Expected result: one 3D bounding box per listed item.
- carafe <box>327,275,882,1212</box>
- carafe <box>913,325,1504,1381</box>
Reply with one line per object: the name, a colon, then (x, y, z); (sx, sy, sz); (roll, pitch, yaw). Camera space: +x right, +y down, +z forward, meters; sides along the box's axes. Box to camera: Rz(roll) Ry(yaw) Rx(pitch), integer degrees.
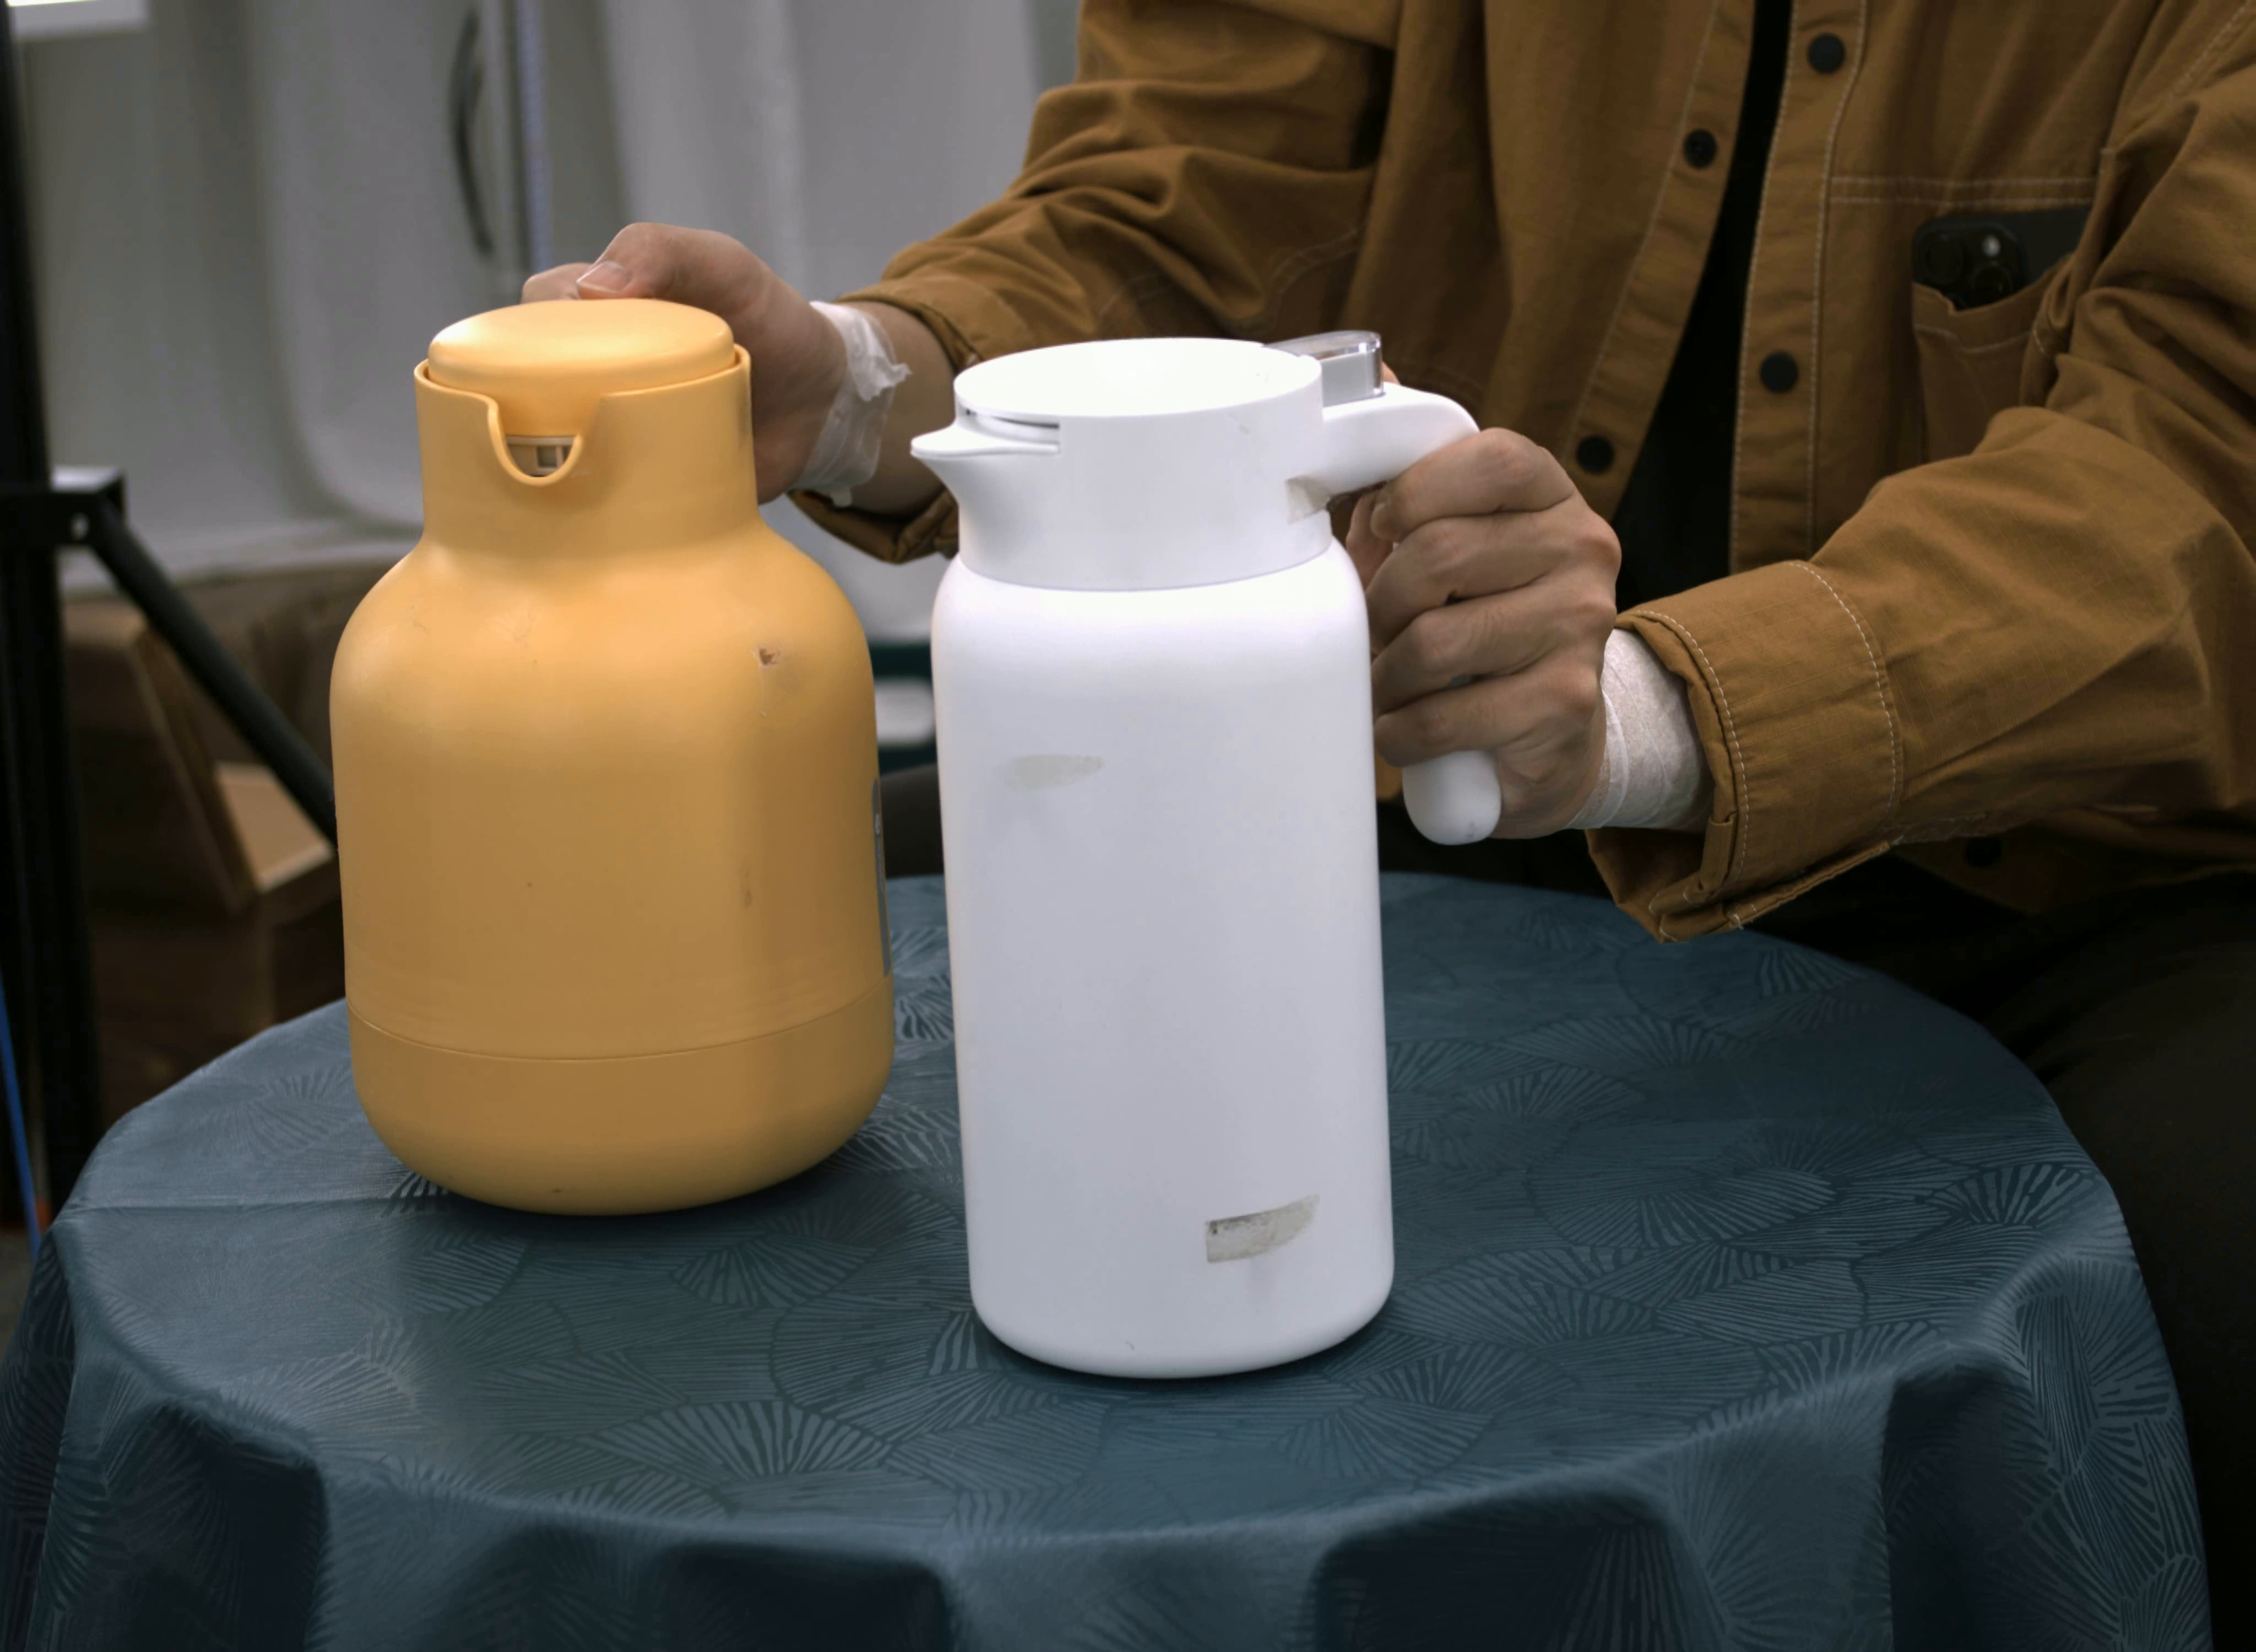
carafe: (-0.151, -0.032, 1.593); (0.164, 0.260, 0.202); (3, 18, 8)
carafe: (0.024, 0.003, 1.431); (0.169, 0.269, 0.126); (-12, 15, -29)
